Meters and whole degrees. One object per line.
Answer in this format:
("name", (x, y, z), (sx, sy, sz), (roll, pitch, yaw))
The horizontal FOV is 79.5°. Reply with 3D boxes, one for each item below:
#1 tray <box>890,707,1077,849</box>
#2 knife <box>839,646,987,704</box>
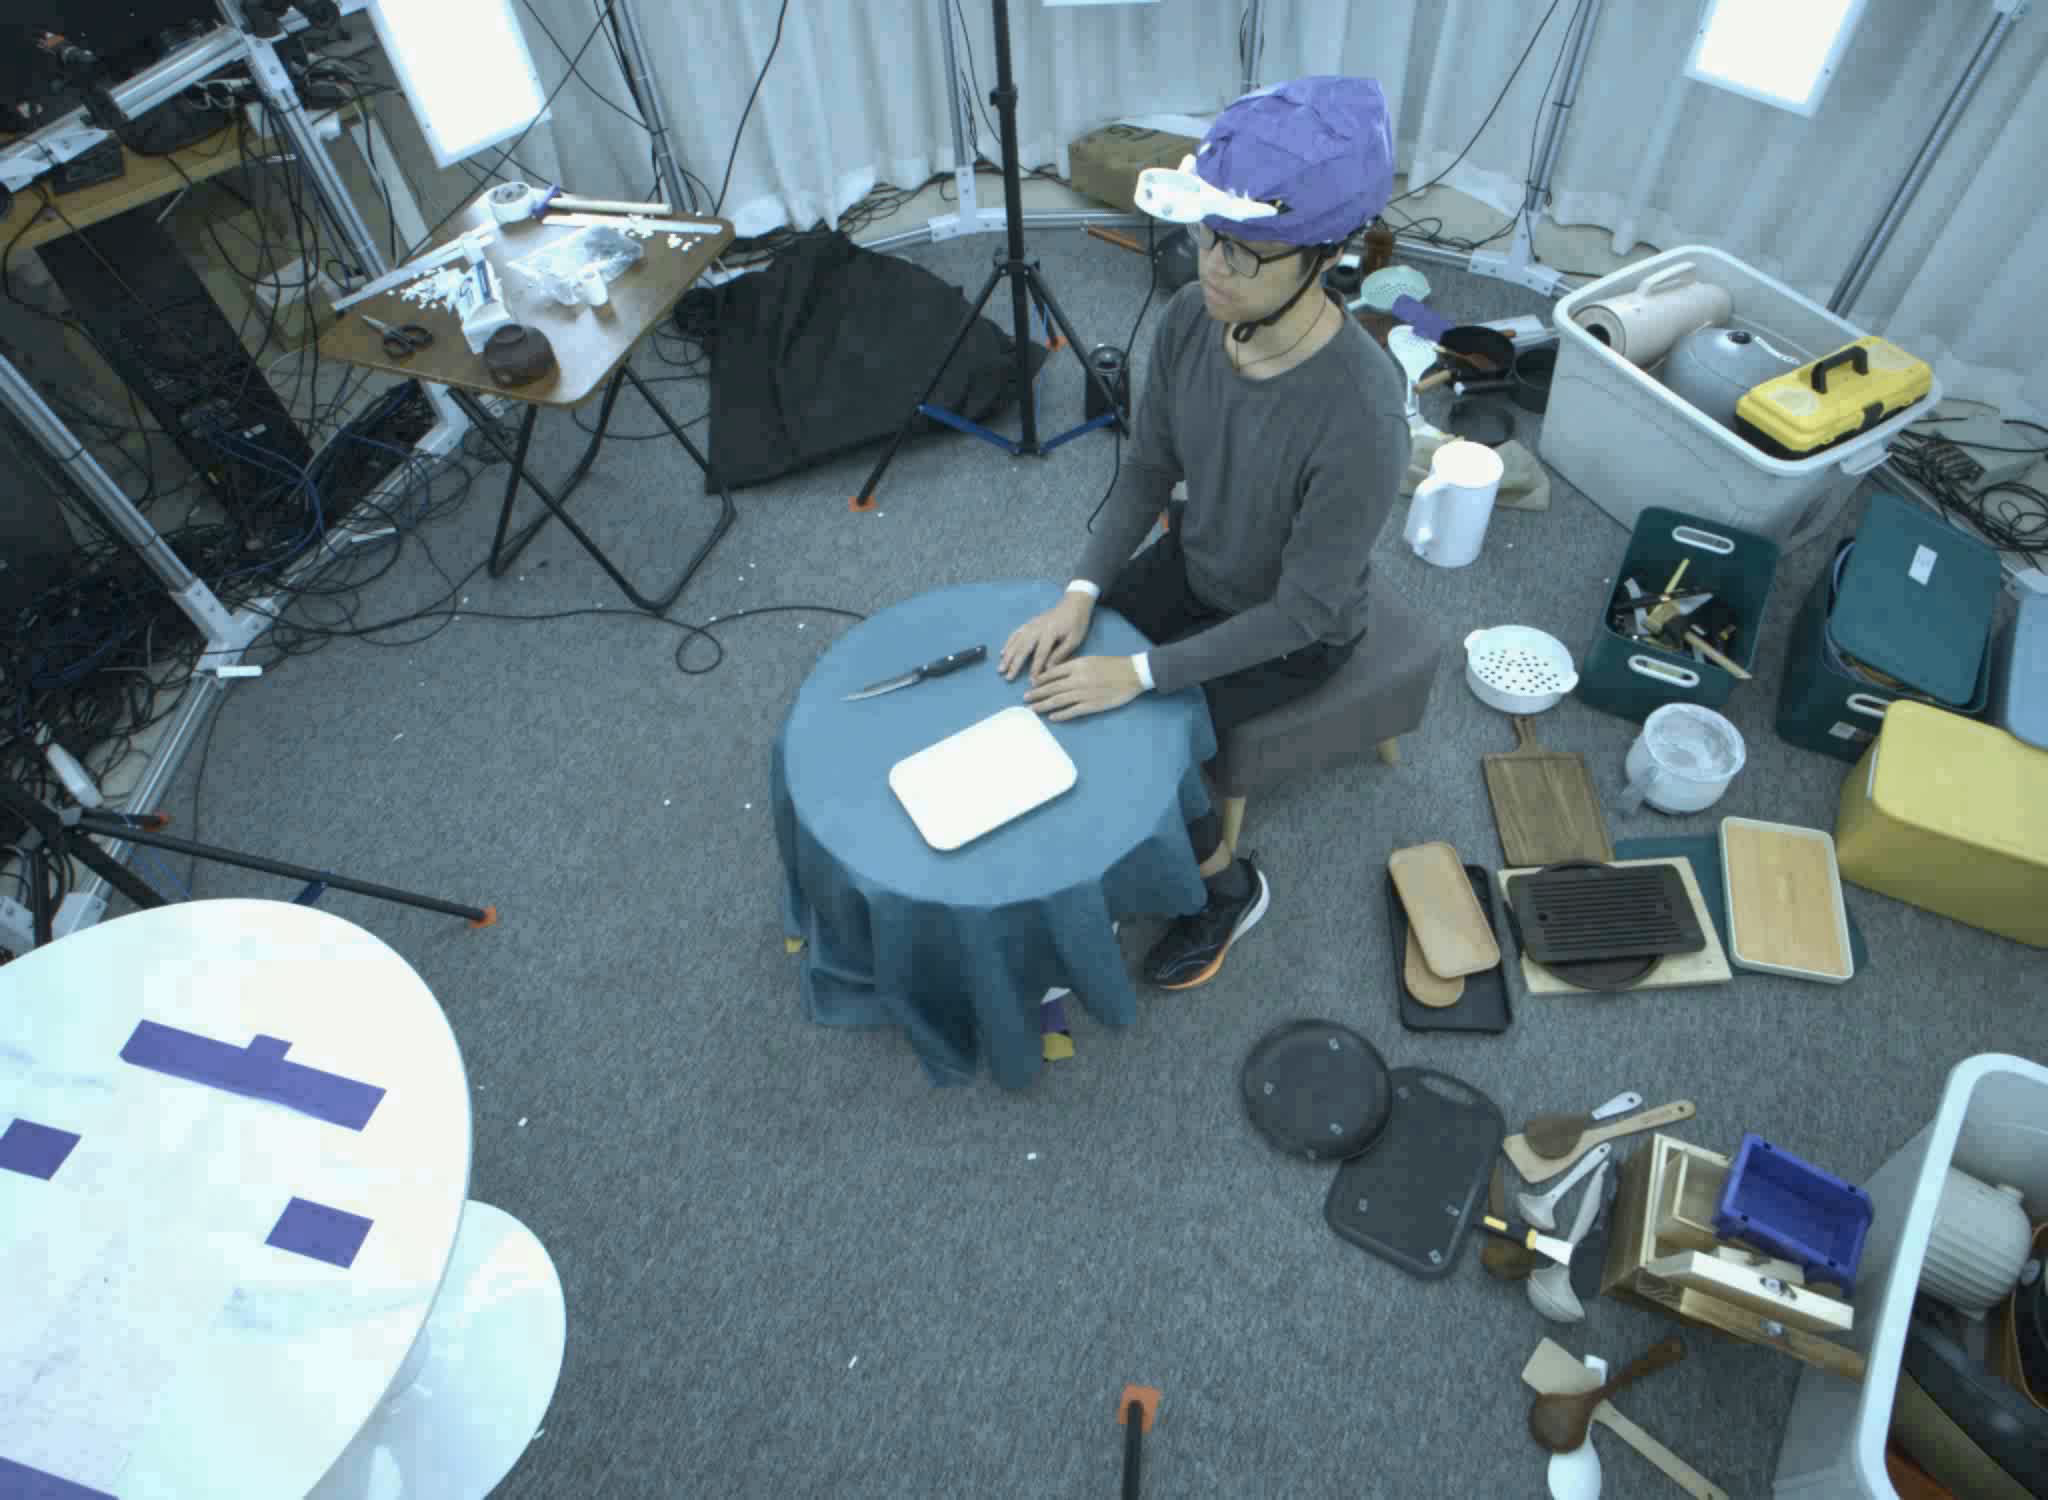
("tray", (-0.058, 0.039, 1.758), (0.241, 0.017, 0.168), (-27, 57, -17))
("knife", (-0.171, -0.114, 1.874), (0.239, 0.016, 0.024), (-20, 54, -10))
